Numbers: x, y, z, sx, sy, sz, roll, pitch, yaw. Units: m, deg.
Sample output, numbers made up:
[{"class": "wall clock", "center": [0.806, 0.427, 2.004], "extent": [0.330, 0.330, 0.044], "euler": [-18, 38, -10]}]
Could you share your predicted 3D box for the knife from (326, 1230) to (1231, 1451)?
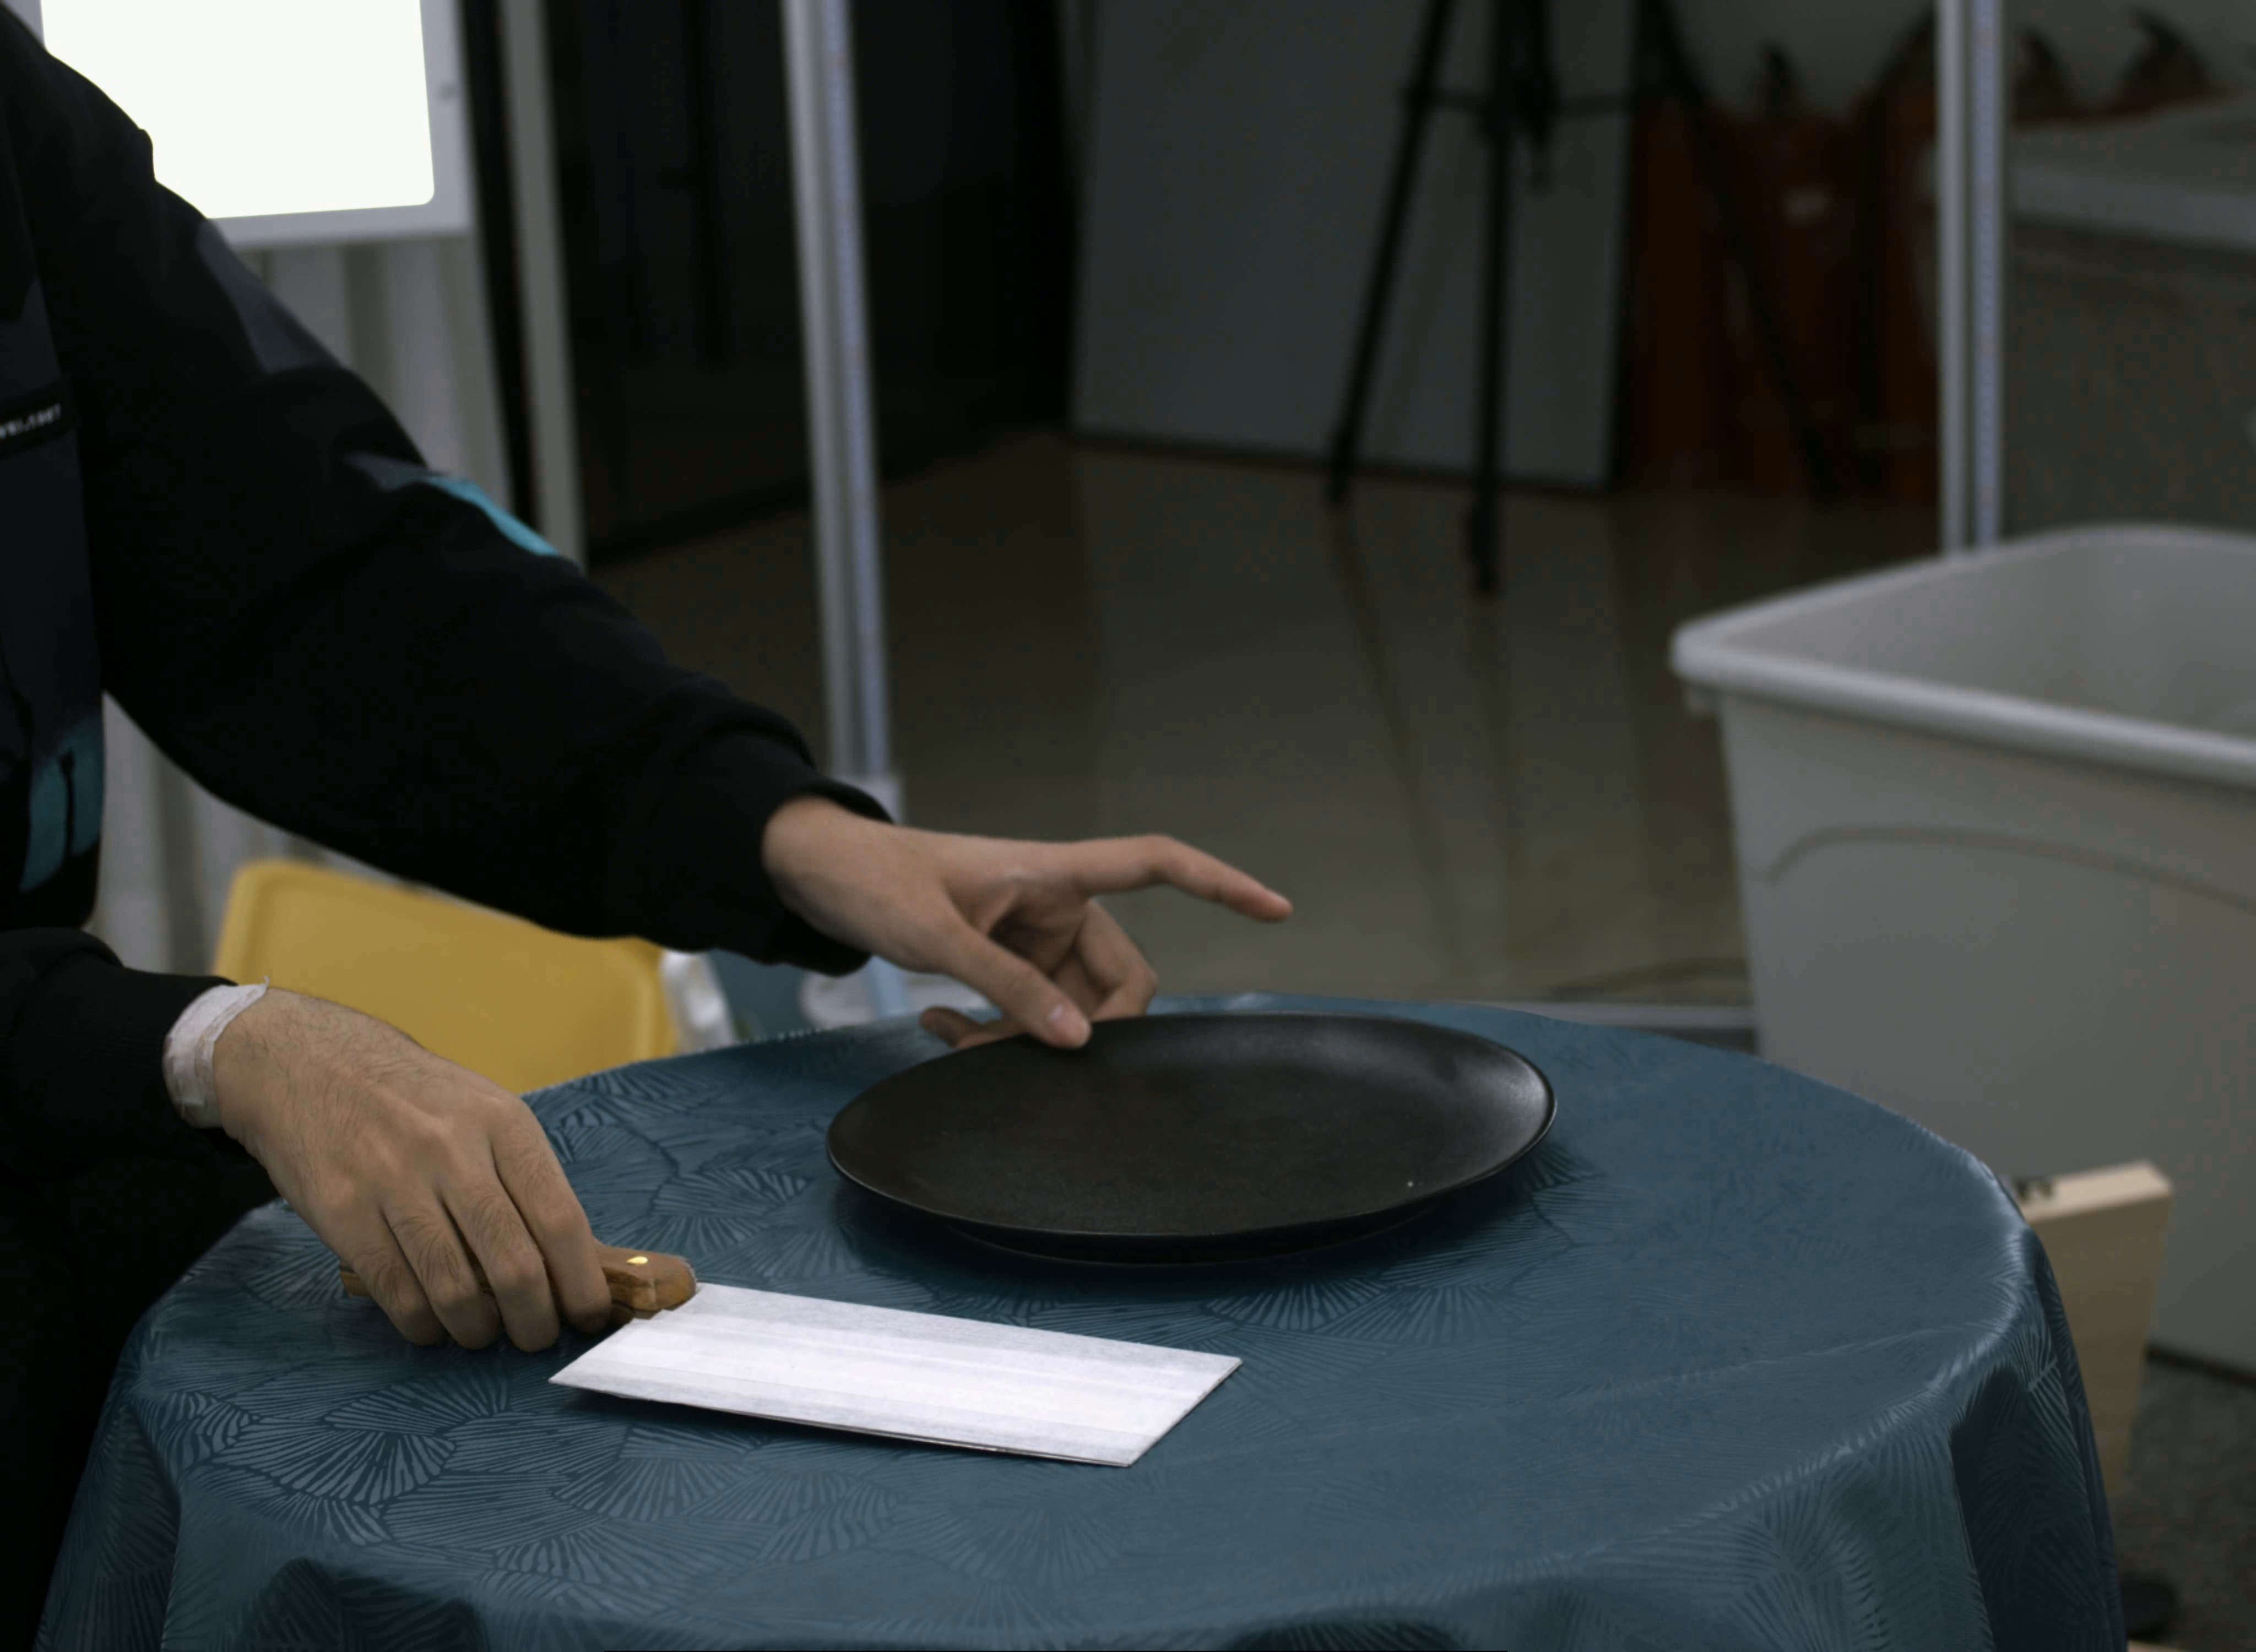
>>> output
[{"class": "knife", "center": [-0.119, 0.158, 1.626], "extent": [0.306, 0.021, 0.092], "euler": [5, 17, 24]}]

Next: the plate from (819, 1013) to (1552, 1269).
[{"class": "plate", "center": [0.020, 0.106, 1.776], "extent": [0.241, 0.024, 0.245], "euler": [-4, 14, 0]}]
